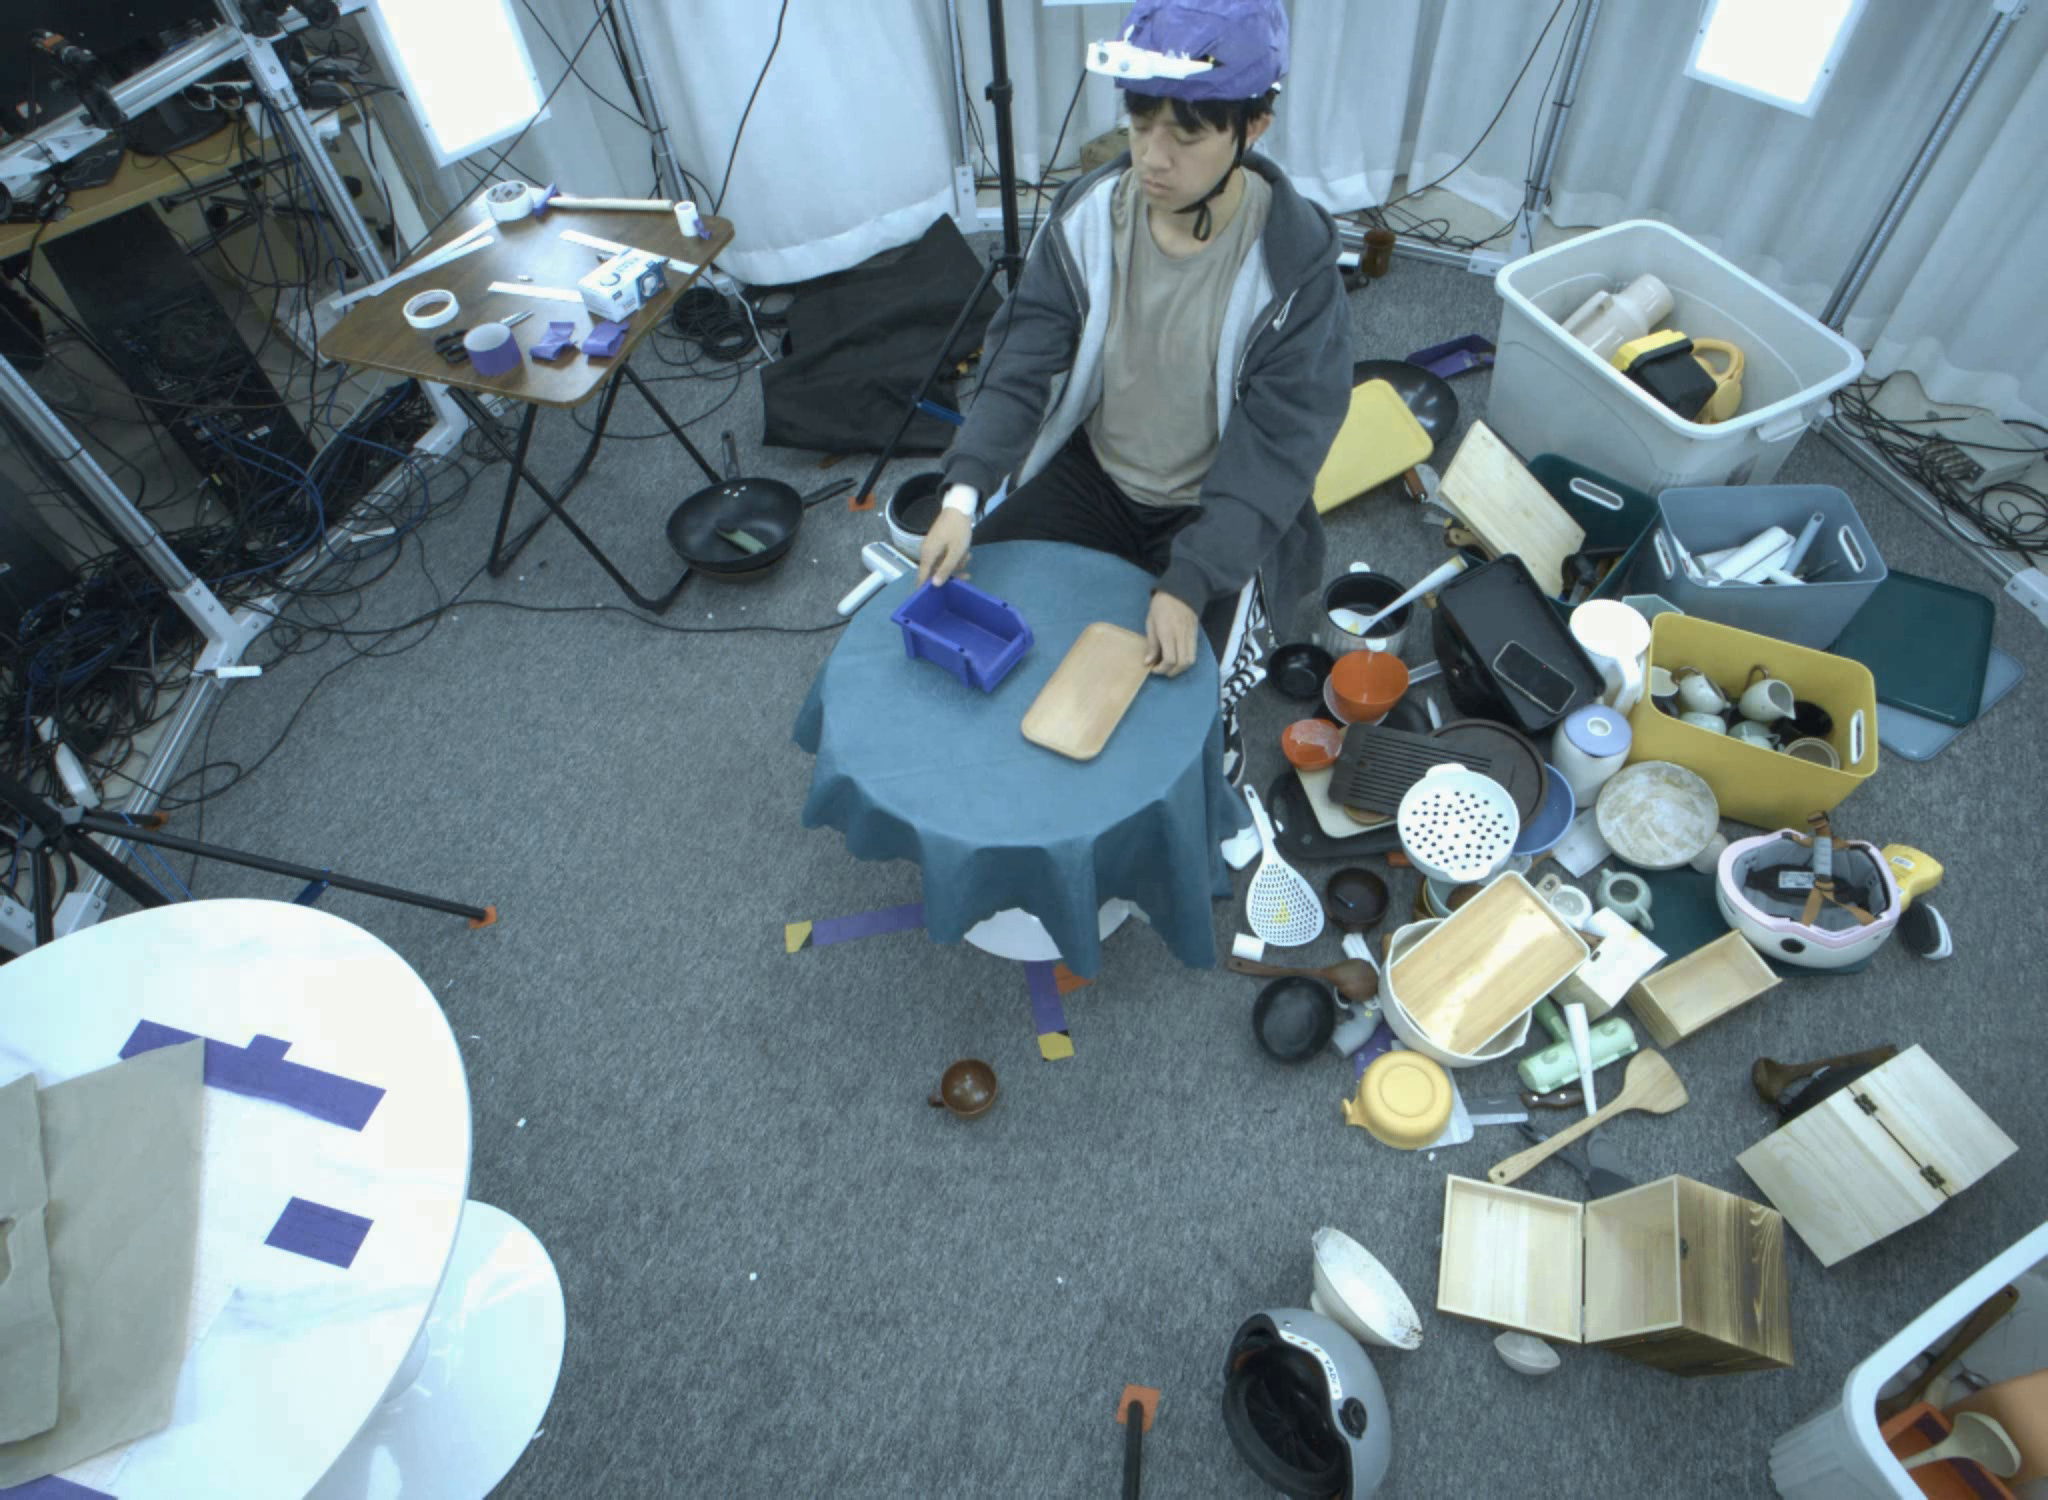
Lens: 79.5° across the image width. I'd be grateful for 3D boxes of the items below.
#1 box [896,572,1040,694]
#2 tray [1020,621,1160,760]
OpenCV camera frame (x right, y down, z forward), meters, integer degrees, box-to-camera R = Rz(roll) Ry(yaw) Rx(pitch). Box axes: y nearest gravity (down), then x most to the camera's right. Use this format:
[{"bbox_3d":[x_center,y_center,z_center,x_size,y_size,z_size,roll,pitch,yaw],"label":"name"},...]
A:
[{"bbox_3d":[-0.083,-0.176,1.867,0.176,0.083,0.125,29,61,25],"label":"box"},{"bbox_3d":[0.101,-0.092,1.841,0.129,0.023,0.251,25,59,16],"label":"tray"}]
